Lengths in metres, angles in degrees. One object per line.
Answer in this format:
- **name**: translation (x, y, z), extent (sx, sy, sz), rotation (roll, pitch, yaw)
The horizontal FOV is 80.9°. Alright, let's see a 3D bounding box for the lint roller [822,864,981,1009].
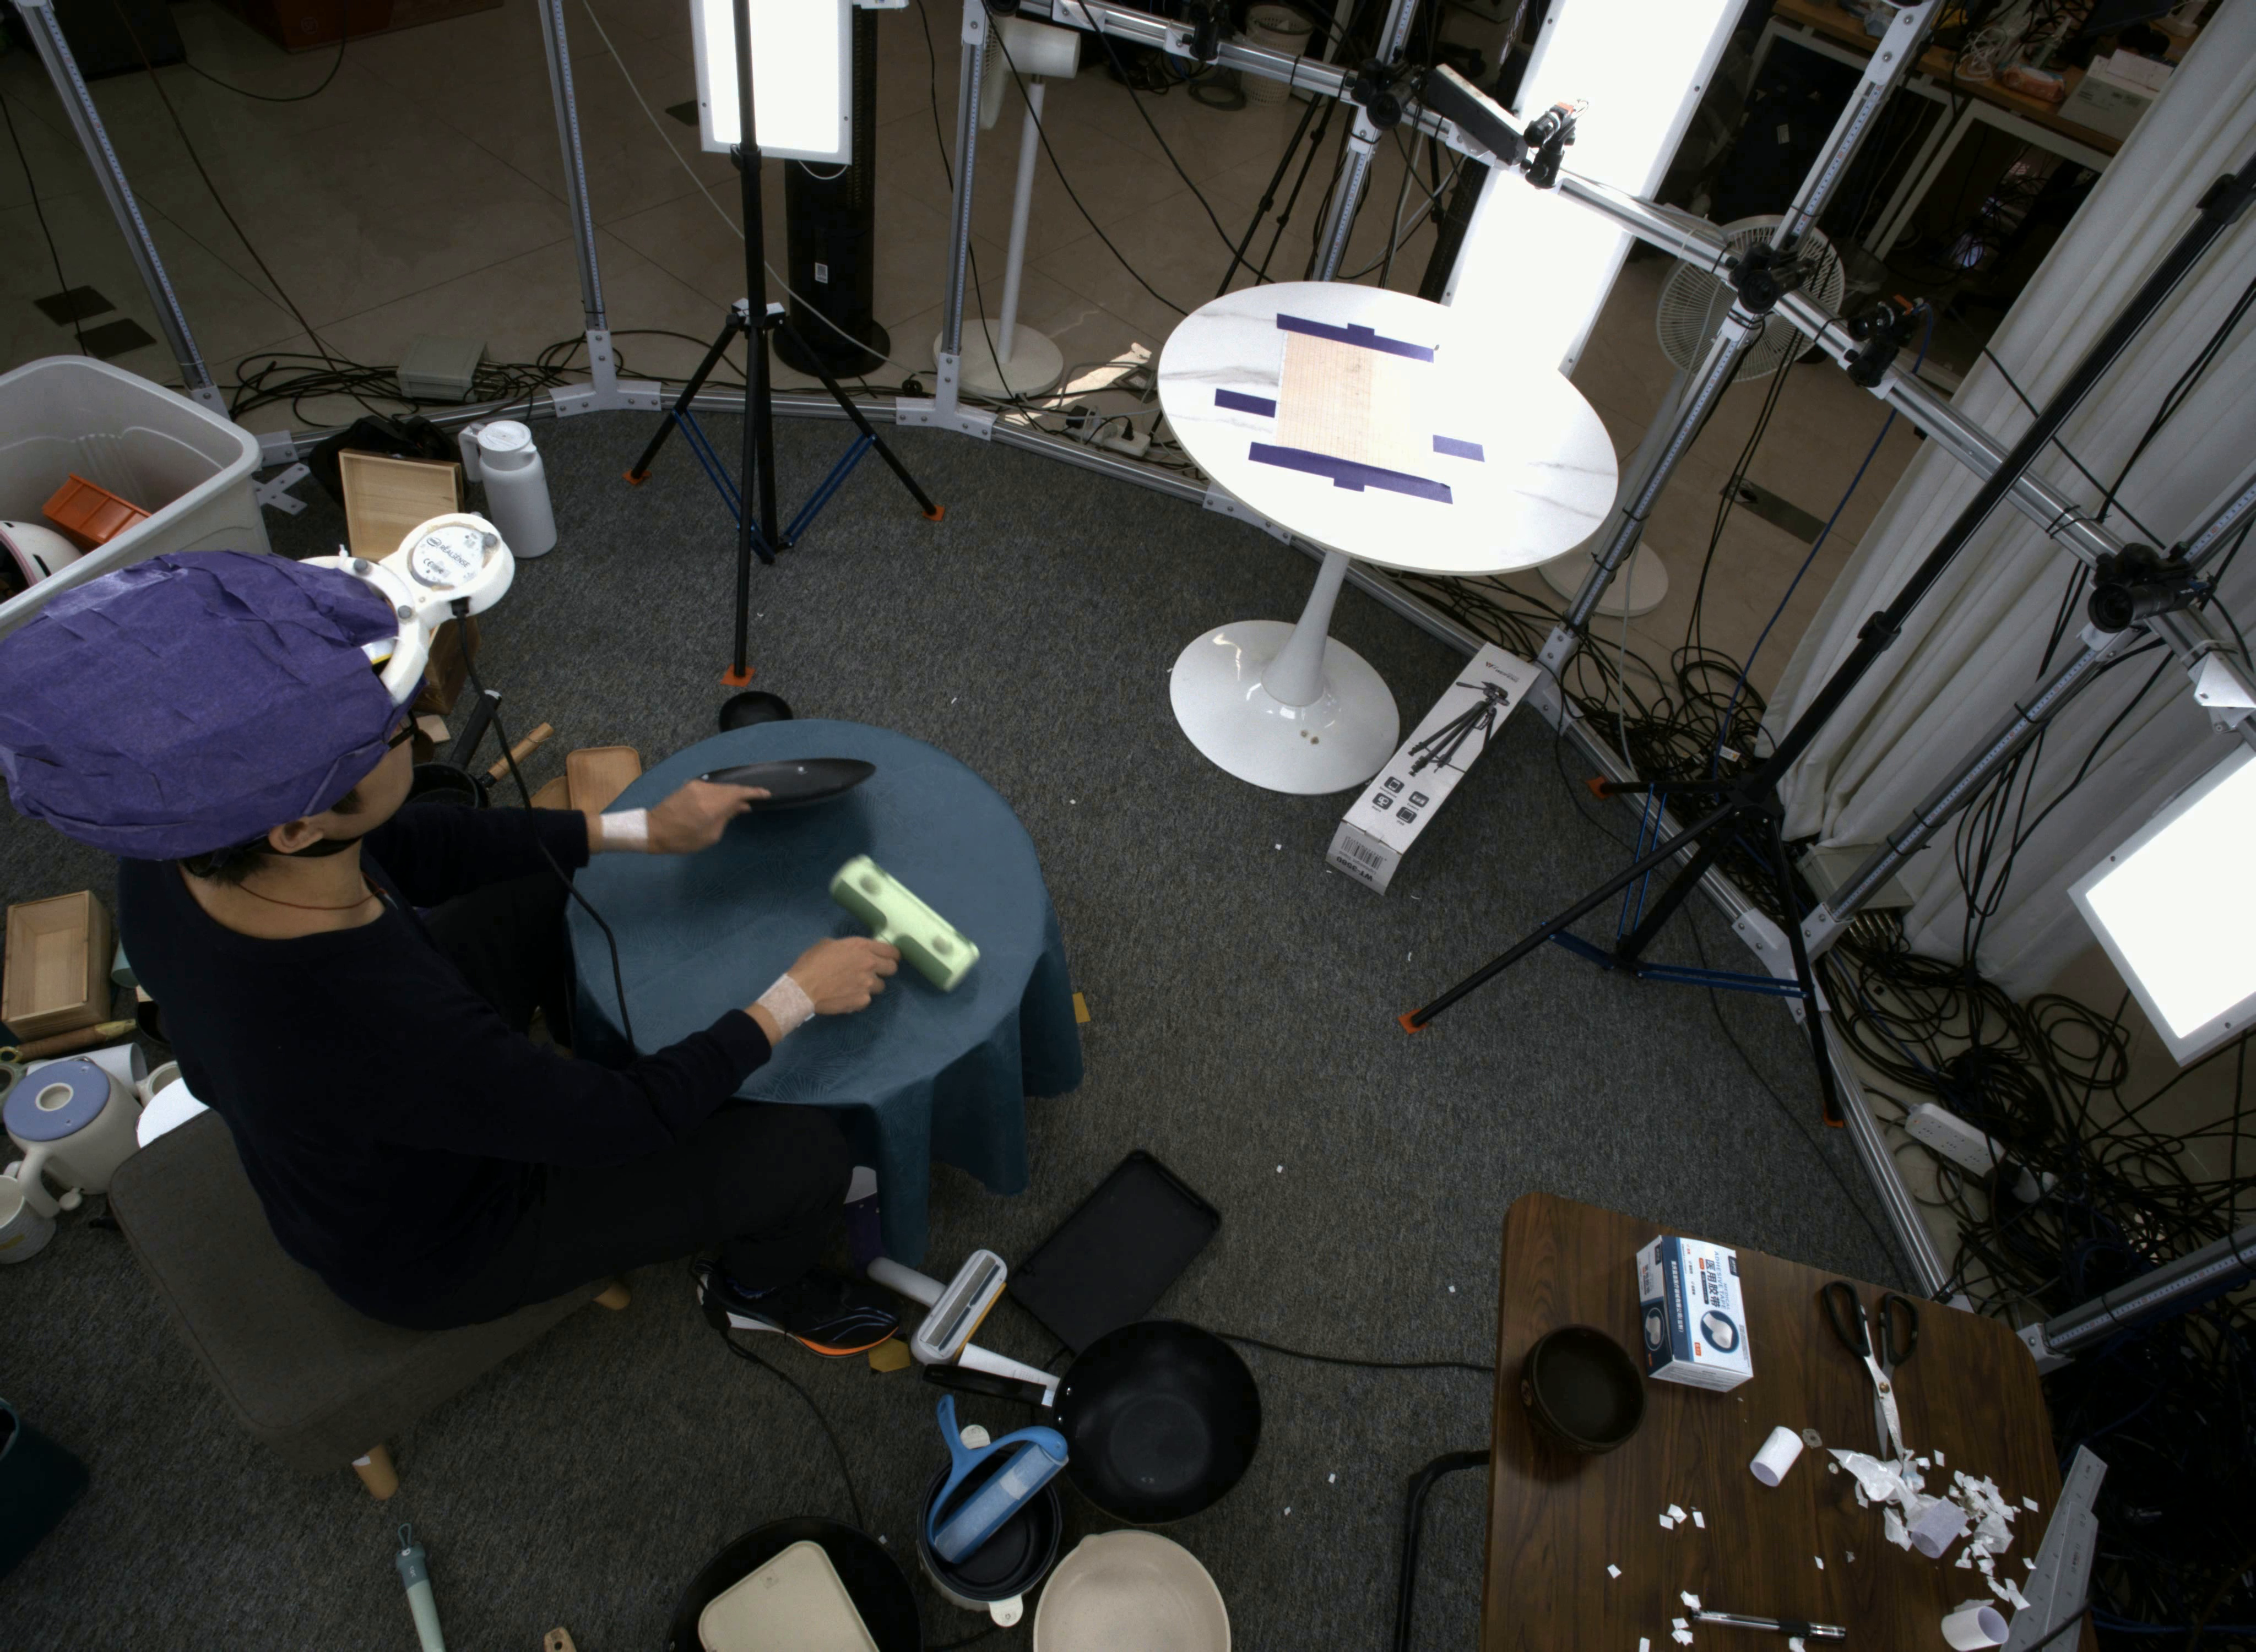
- **lint roller**: translation (-0.296, 0.144, 1.551), extent (0.197, 0.083, 0.183), rotation (39, 39, 3)

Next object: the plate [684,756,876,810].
- **plate**: translation (-0.444, -0.055, 1.660), extent (0.241, 0.024, 0.241), rotation (-2, 15, 2)
